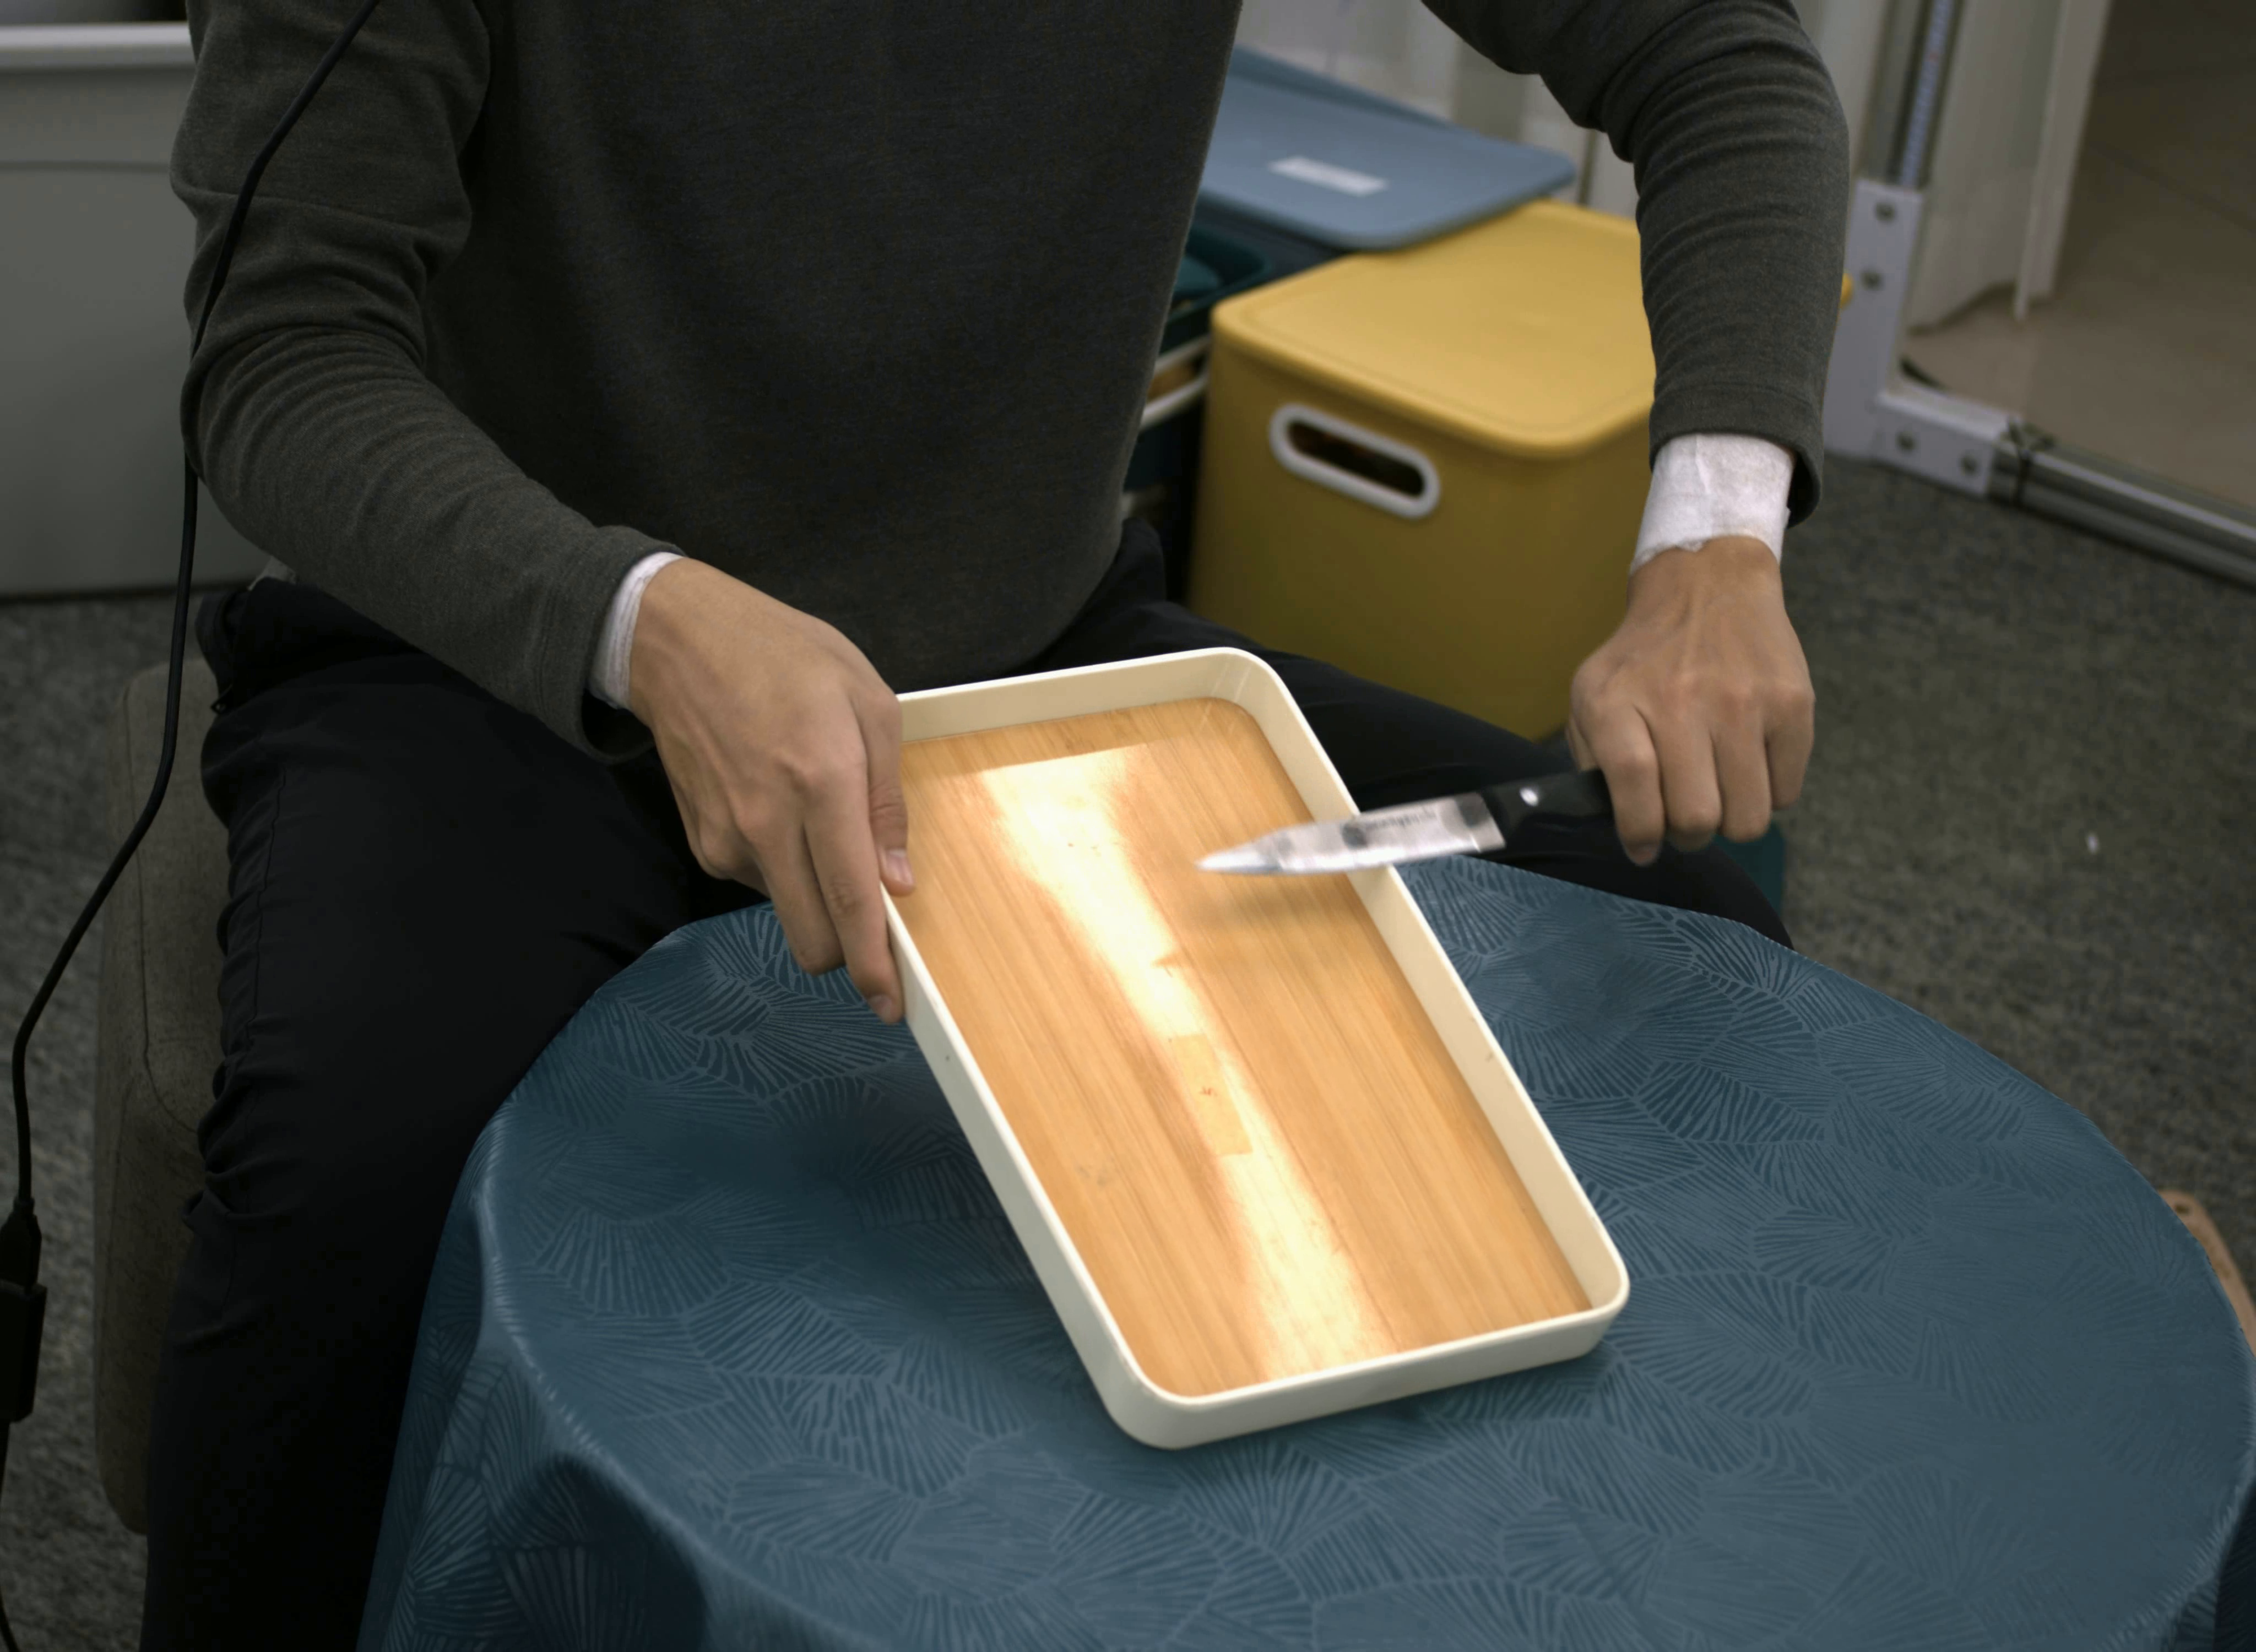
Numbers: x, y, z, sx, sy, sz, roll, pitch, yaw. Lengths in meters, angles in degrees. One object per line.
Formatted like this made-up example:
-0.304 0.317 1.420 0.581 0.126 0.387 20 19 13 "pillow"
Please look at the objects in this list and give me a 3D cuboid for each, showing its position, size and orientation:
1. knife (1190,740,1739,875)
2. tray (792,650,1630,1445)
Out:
0.118 -0.006 1.863 0.236 0.016 0.024 -10 59 -32 "knife"
0.024 0.066 1.776 0.190 0.027 0.303 -8 52 -29 "tray"
